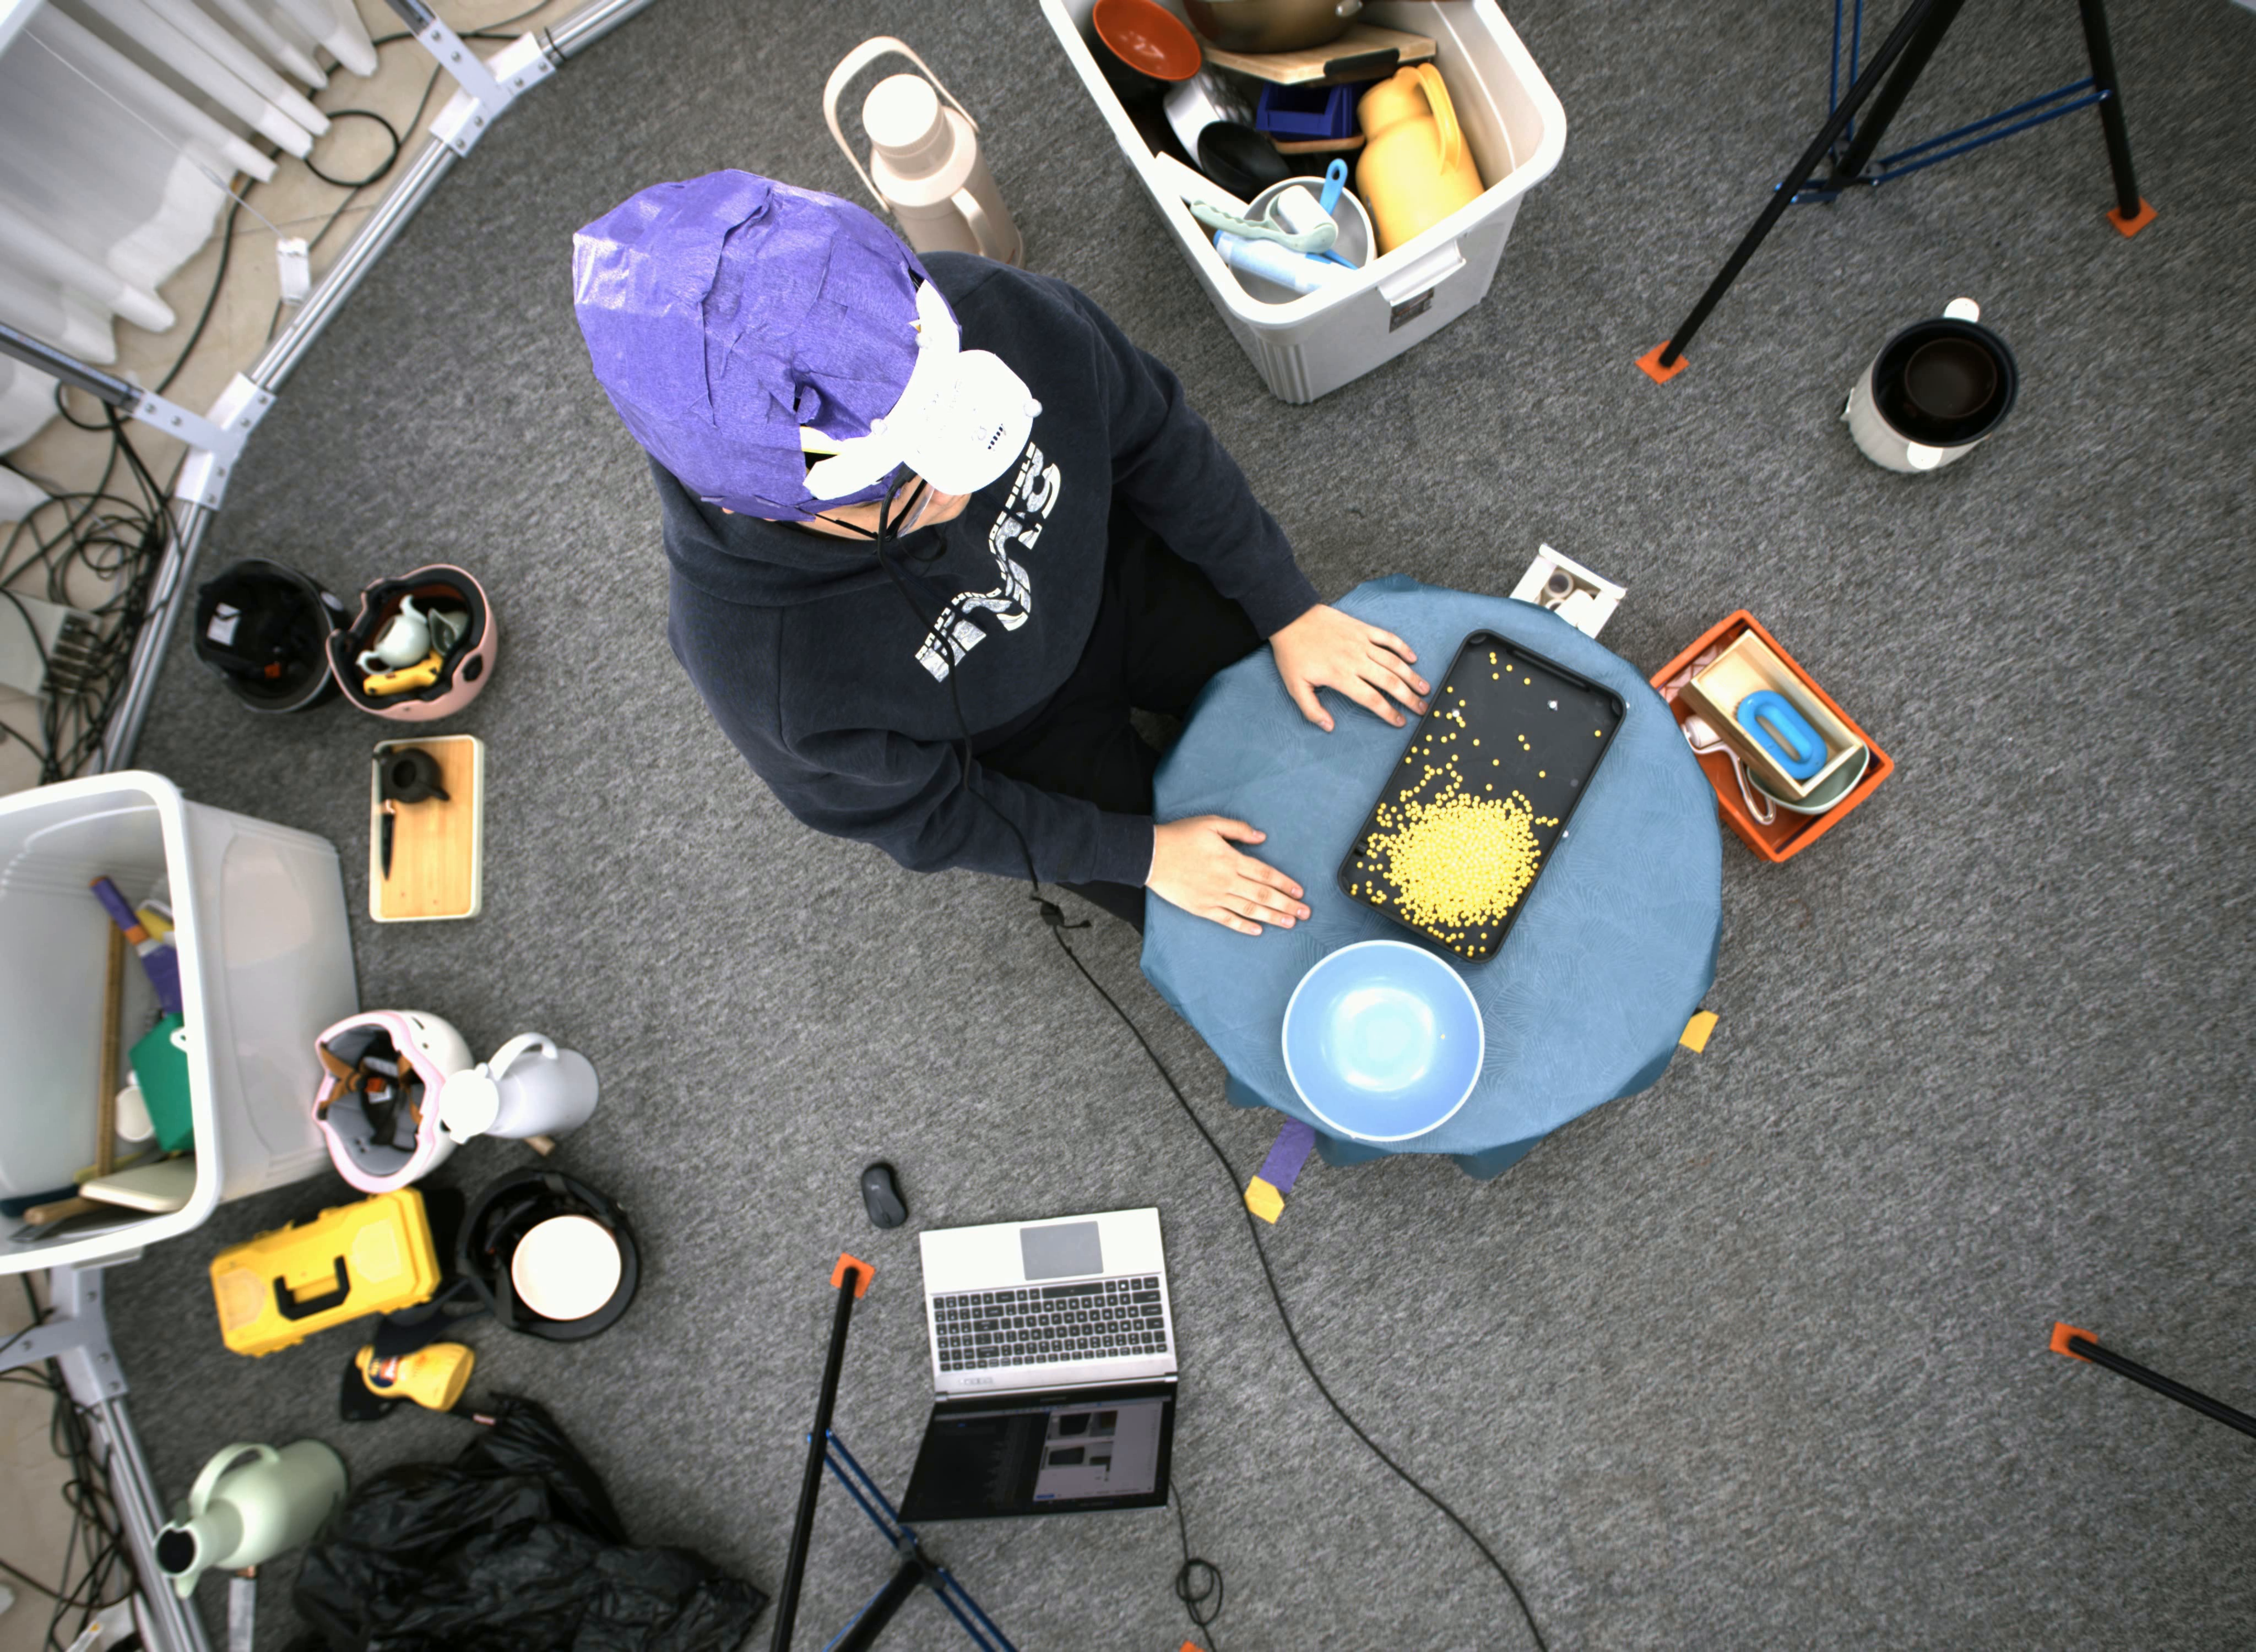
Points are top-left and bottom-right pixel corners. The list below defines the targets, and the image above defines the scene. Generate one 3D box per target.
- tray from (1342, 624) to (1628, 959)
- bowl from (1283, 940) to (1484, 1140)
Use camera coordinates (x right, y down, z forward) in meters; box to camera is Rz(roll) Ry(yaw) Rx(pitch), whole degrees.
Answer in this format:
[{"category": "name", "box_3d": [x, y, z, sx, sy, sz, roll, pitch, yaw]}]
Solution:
[{"category": "tray", "box_3d": [0.370, -0.038, 1.431, 0.184, 0.037, 0.318, 27, 93, 12]}, {"category": "bowl", "box_3d": [0.258, 0.213, 1.406, 0.197, 0.095, 0.196, -1, 87, 11]}]
